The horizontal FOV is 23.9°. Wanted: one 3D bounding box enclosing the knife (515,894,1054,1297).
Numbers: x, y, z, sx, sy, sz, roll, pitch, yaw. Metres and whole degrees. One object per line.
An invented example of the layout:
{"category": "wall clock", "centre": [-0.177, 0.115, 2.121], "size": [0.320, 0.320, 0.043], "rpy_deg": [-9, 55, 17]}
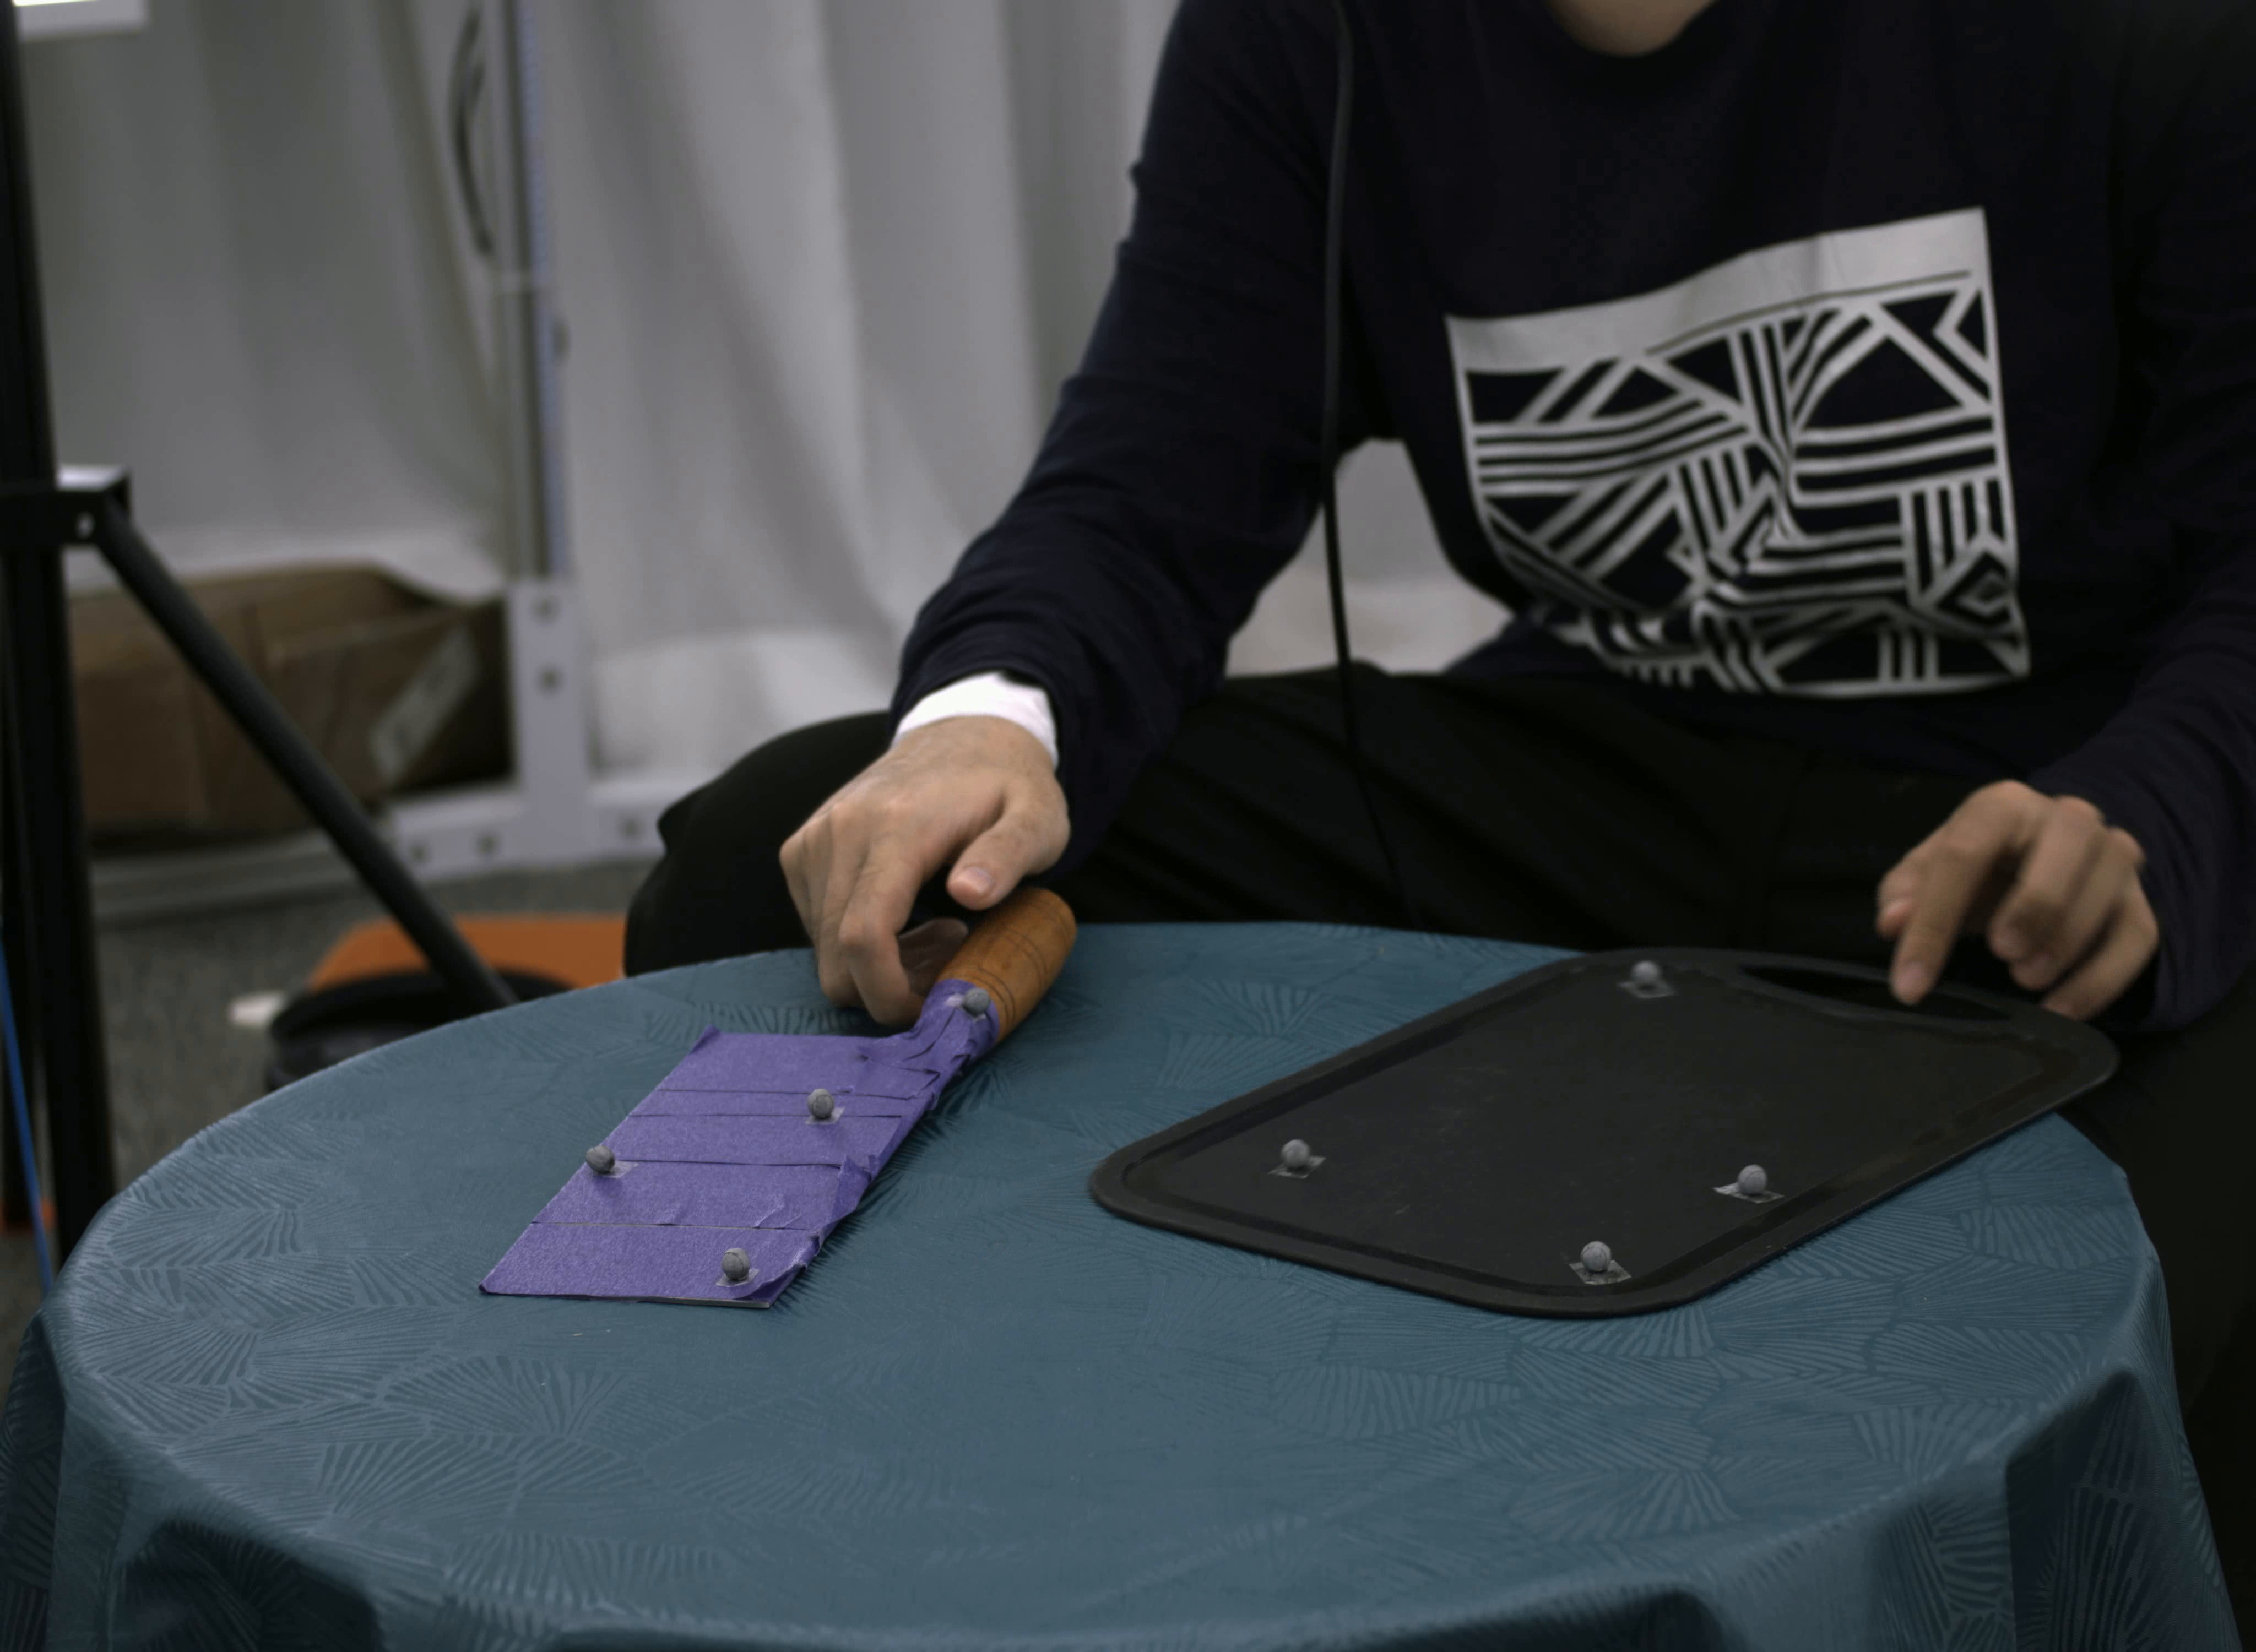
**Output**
{"category": "knife", "centre": [-0.102, 0.079, 1.630], "size": [0.104, 0.032, 0.313], "rpy_deg": [2, 17, 14]}

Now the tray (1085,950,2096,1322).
{"category": "tray", "centre": [0.149, 0.086, 1.608], "size": [0.216, 0.010, 0.318], "rpy_deg": [11, 20, 39]}
